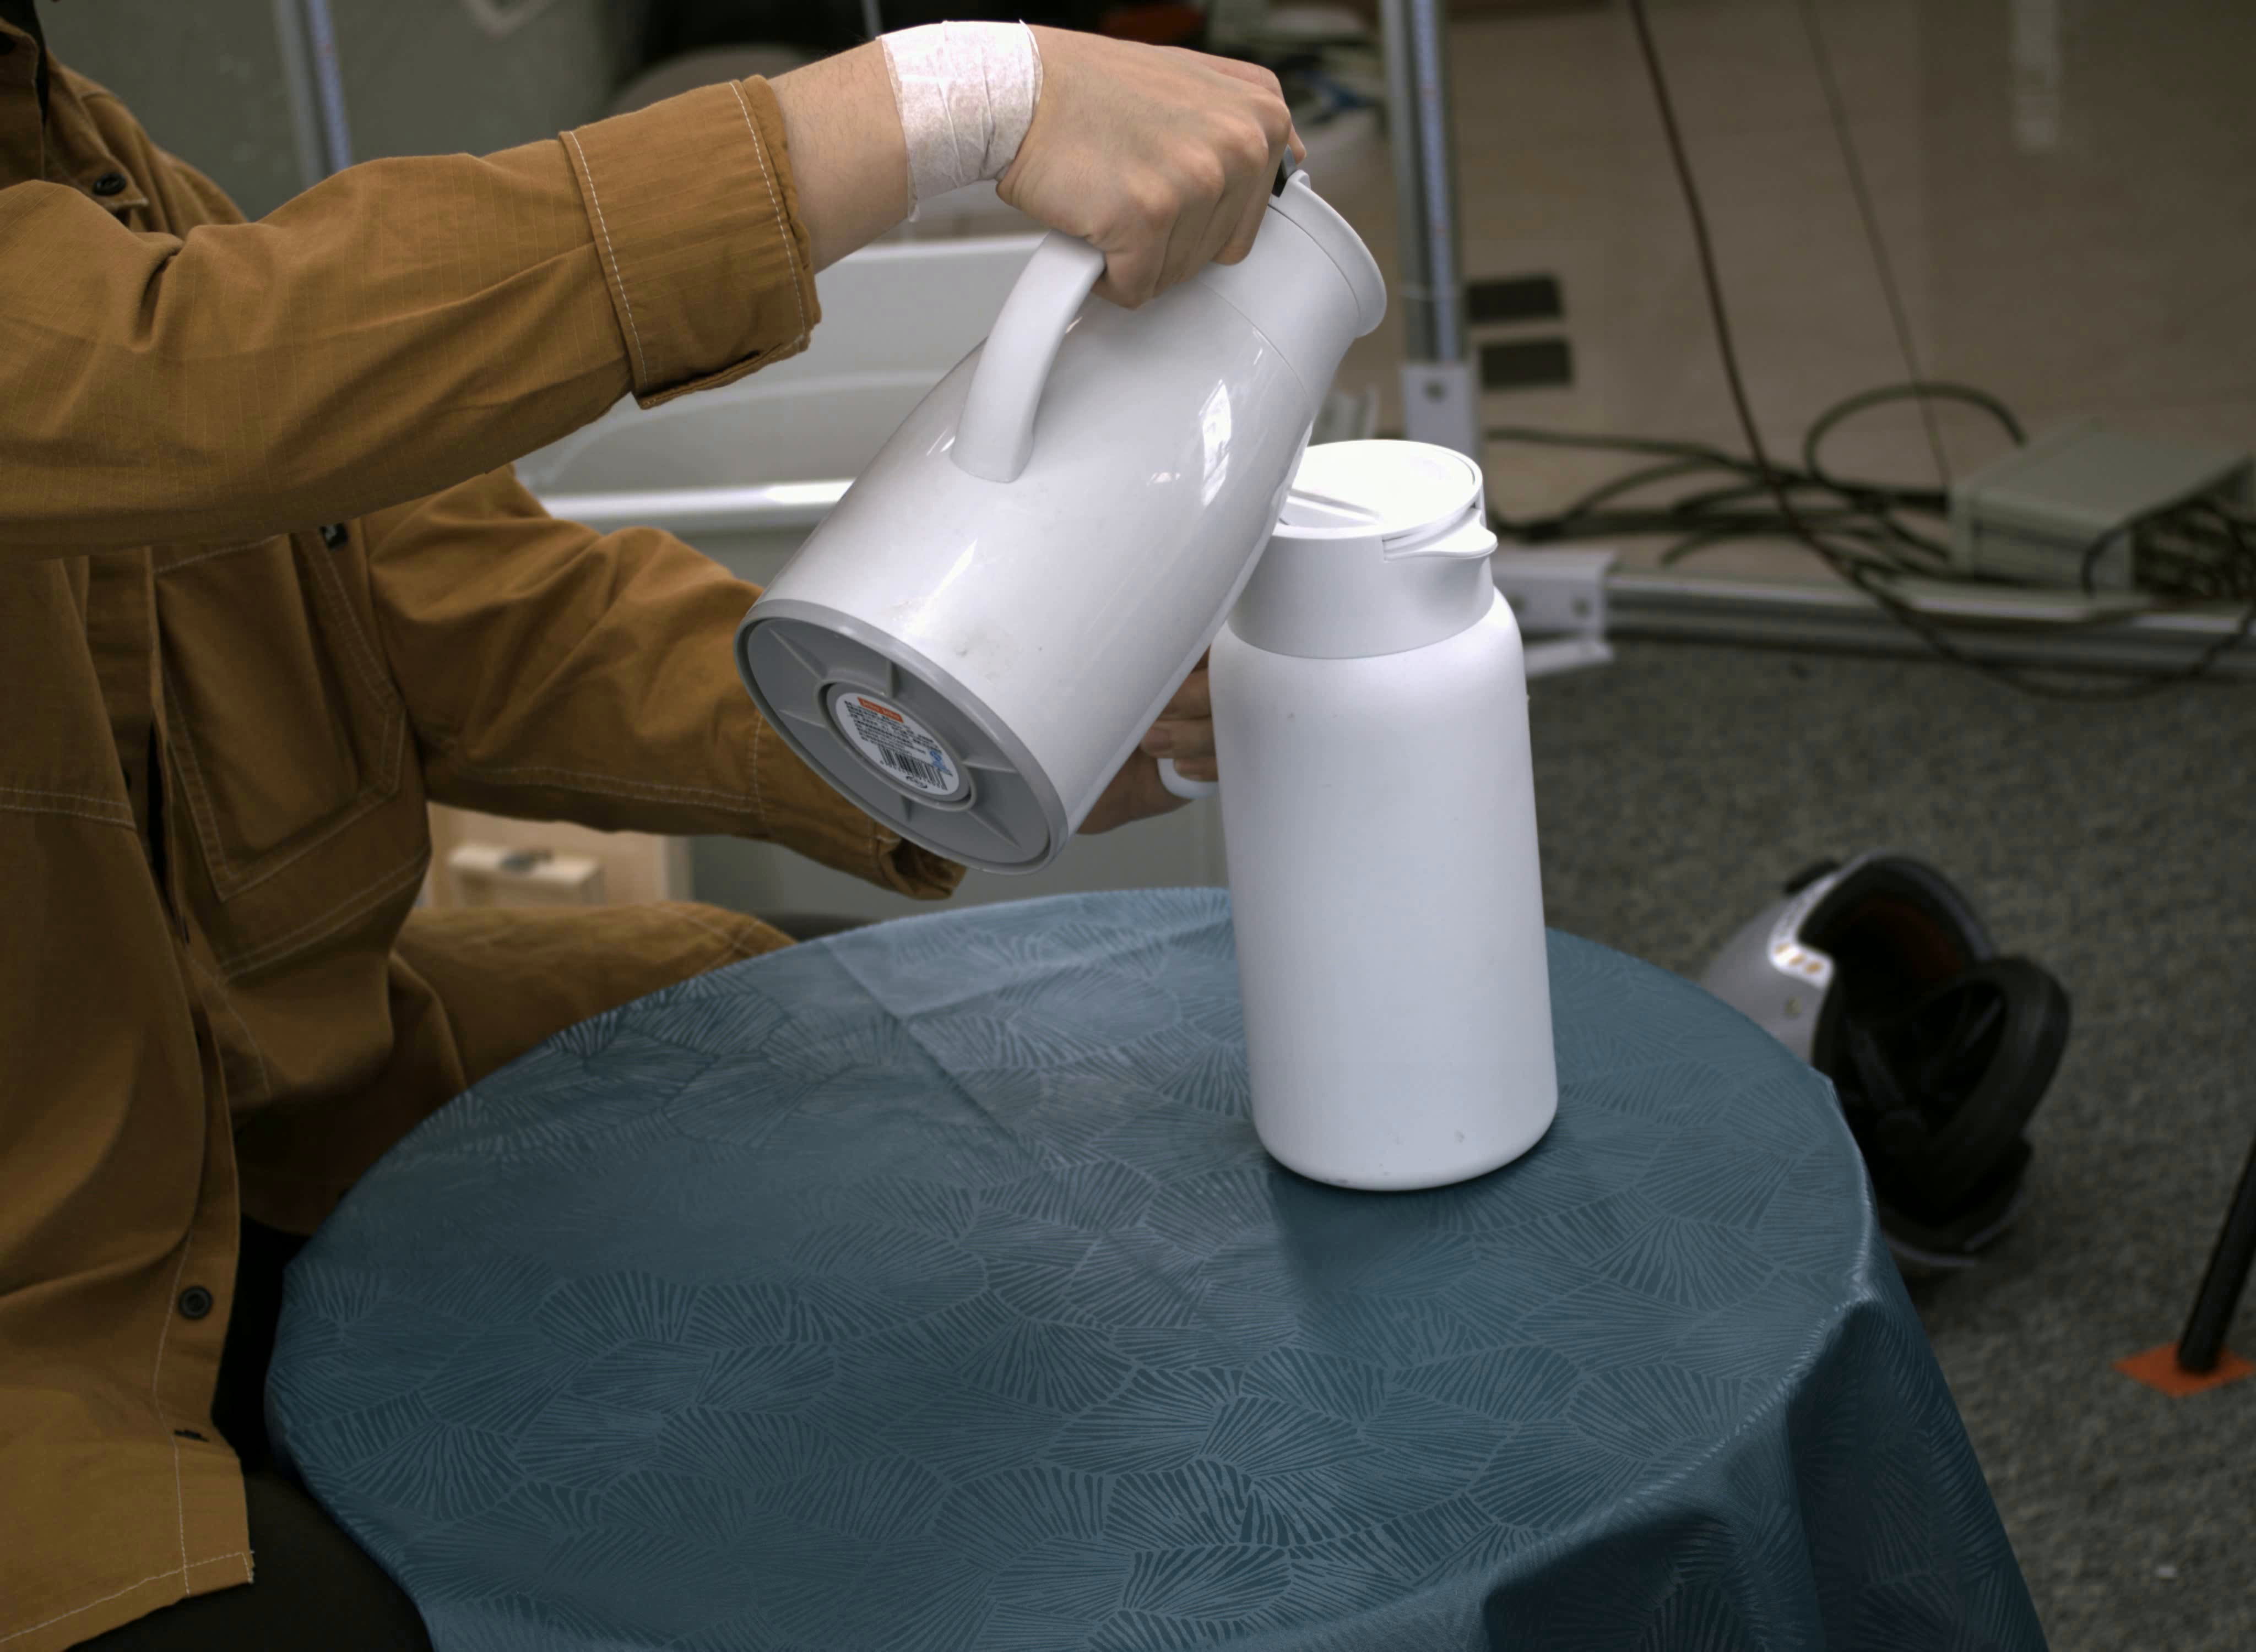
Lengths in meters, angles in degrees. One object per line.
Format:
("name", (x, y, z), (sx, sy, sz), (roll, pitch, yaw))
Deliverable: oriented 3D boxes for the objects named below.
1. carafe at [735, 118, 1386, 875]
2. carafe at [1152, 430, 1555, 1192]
("carafe", (-0.014, -0.128, 1.924), (0.131, 0.170, 0.246), (26, 67, 26))
("carafe", (0.080, -0.008, 2.124), (0.171, 0.273, 0.122), (18, 37, 41))
